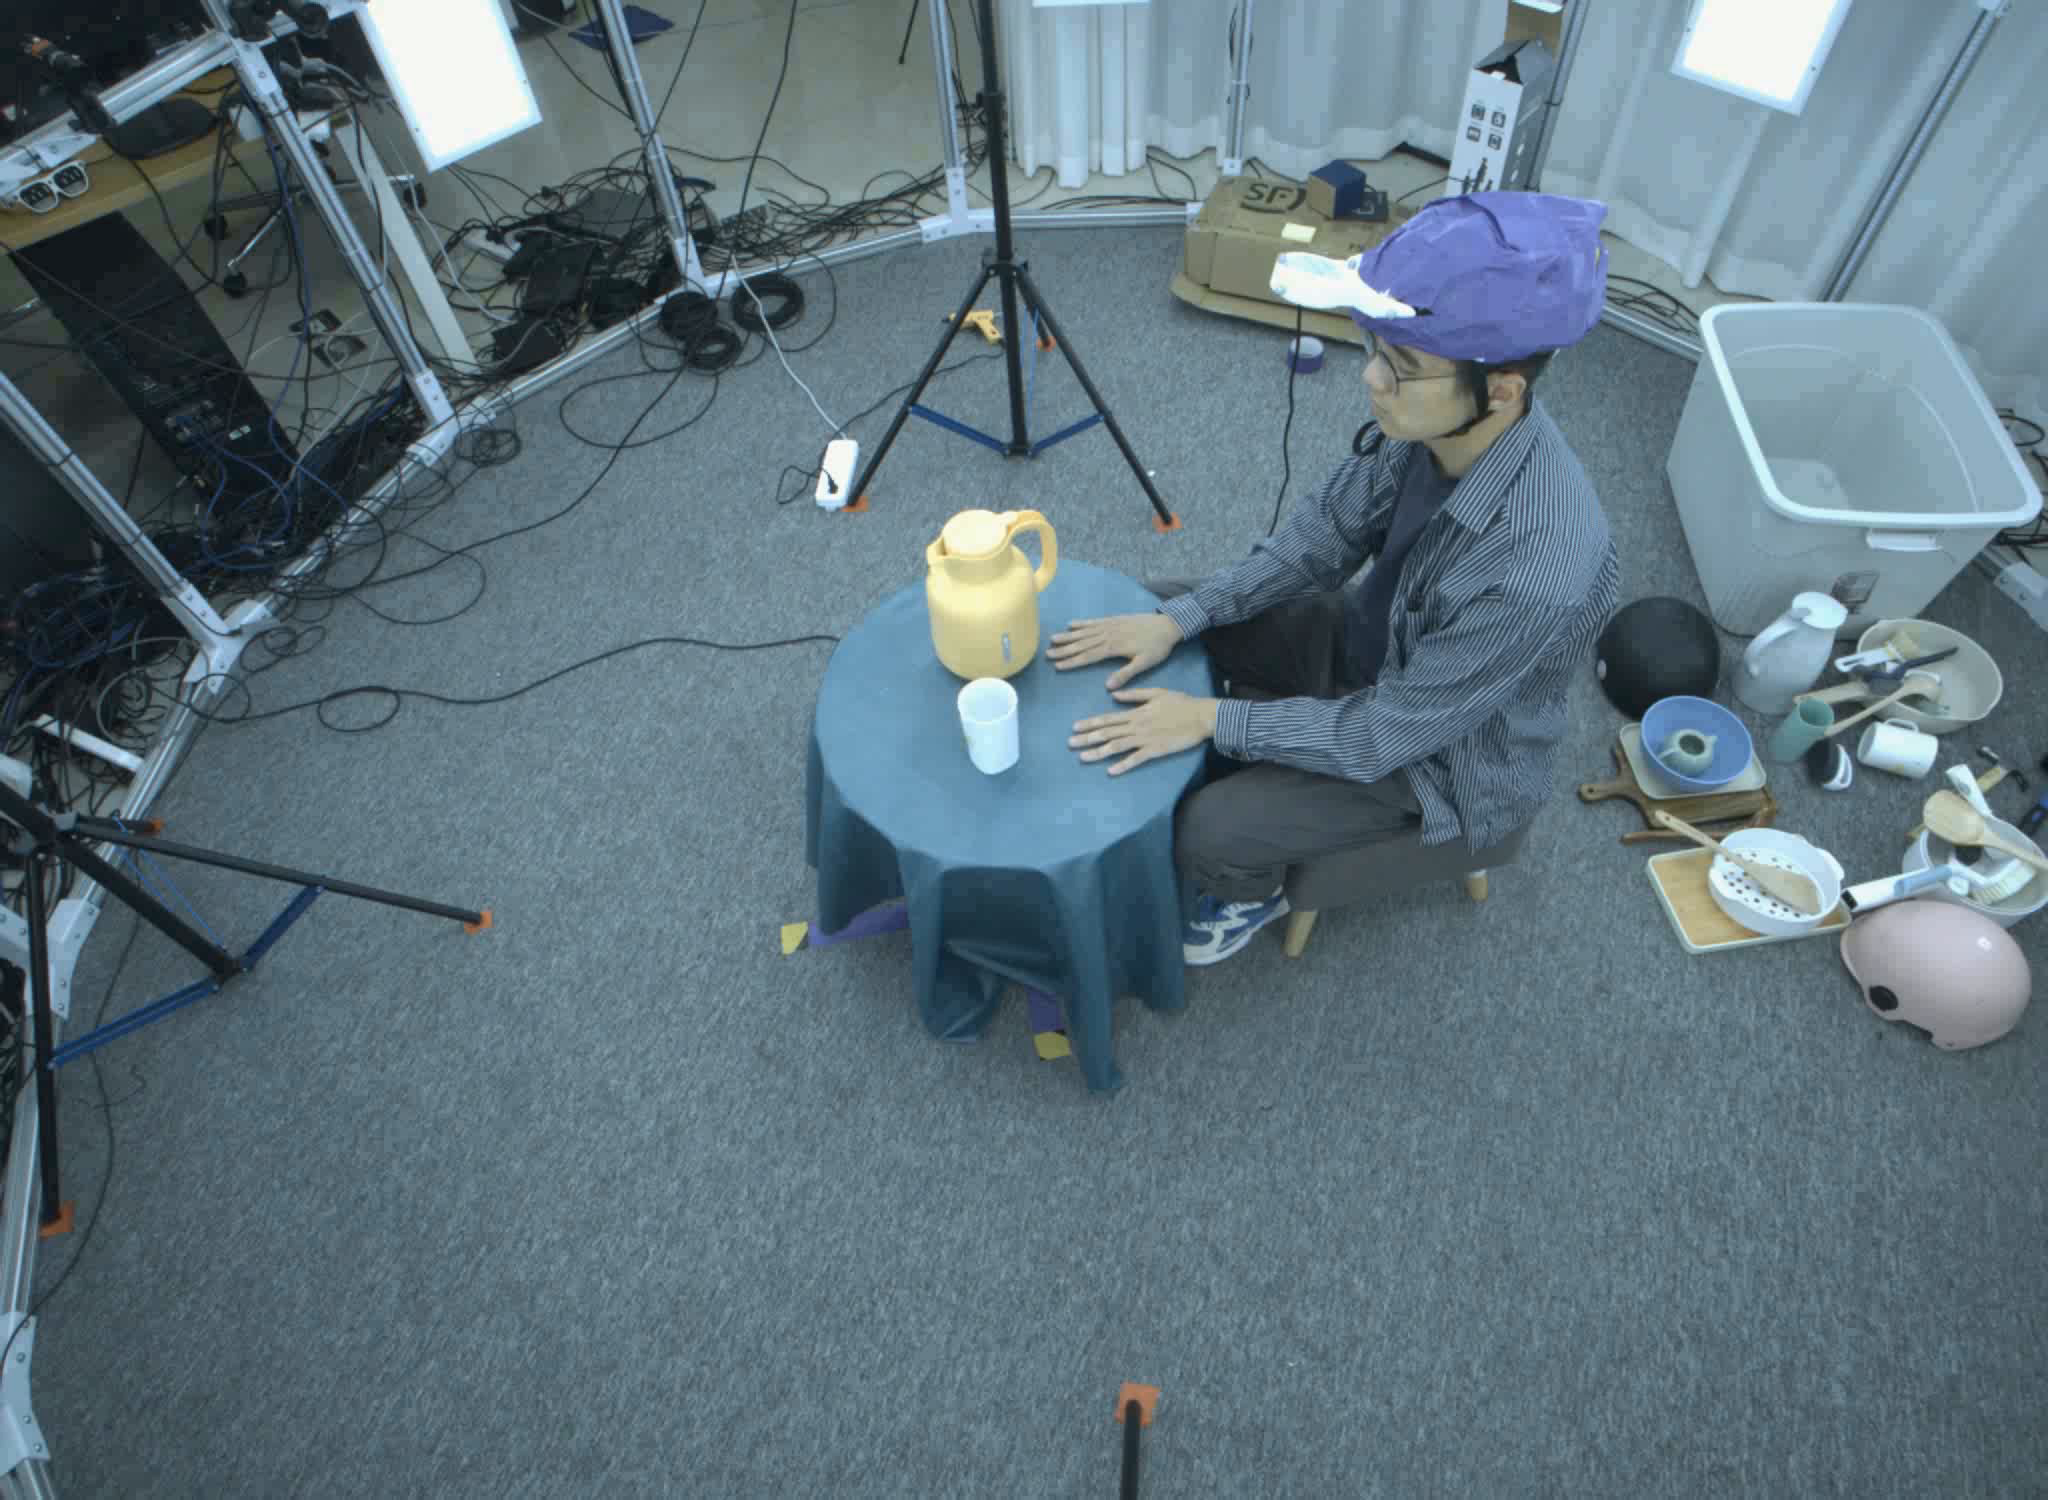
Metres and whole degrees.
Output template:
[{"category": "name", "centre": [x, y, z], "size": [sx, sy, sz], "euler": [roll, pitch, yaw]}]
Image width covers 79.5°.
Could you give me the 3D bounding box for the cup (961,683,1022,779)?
[{"category": "cup", "centre": [-0.043, -0.024, 1.730], "size": [0.081, 0.127, 0.081], "euler": [-1, 54, 2]}]

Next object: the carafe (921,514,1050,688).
[{"category": "carafe", "centre": [-0.051, -0.228, 1.795], "size": [0.204, 0.263, 0.160], "euler": [-27, 58, -15]}]
